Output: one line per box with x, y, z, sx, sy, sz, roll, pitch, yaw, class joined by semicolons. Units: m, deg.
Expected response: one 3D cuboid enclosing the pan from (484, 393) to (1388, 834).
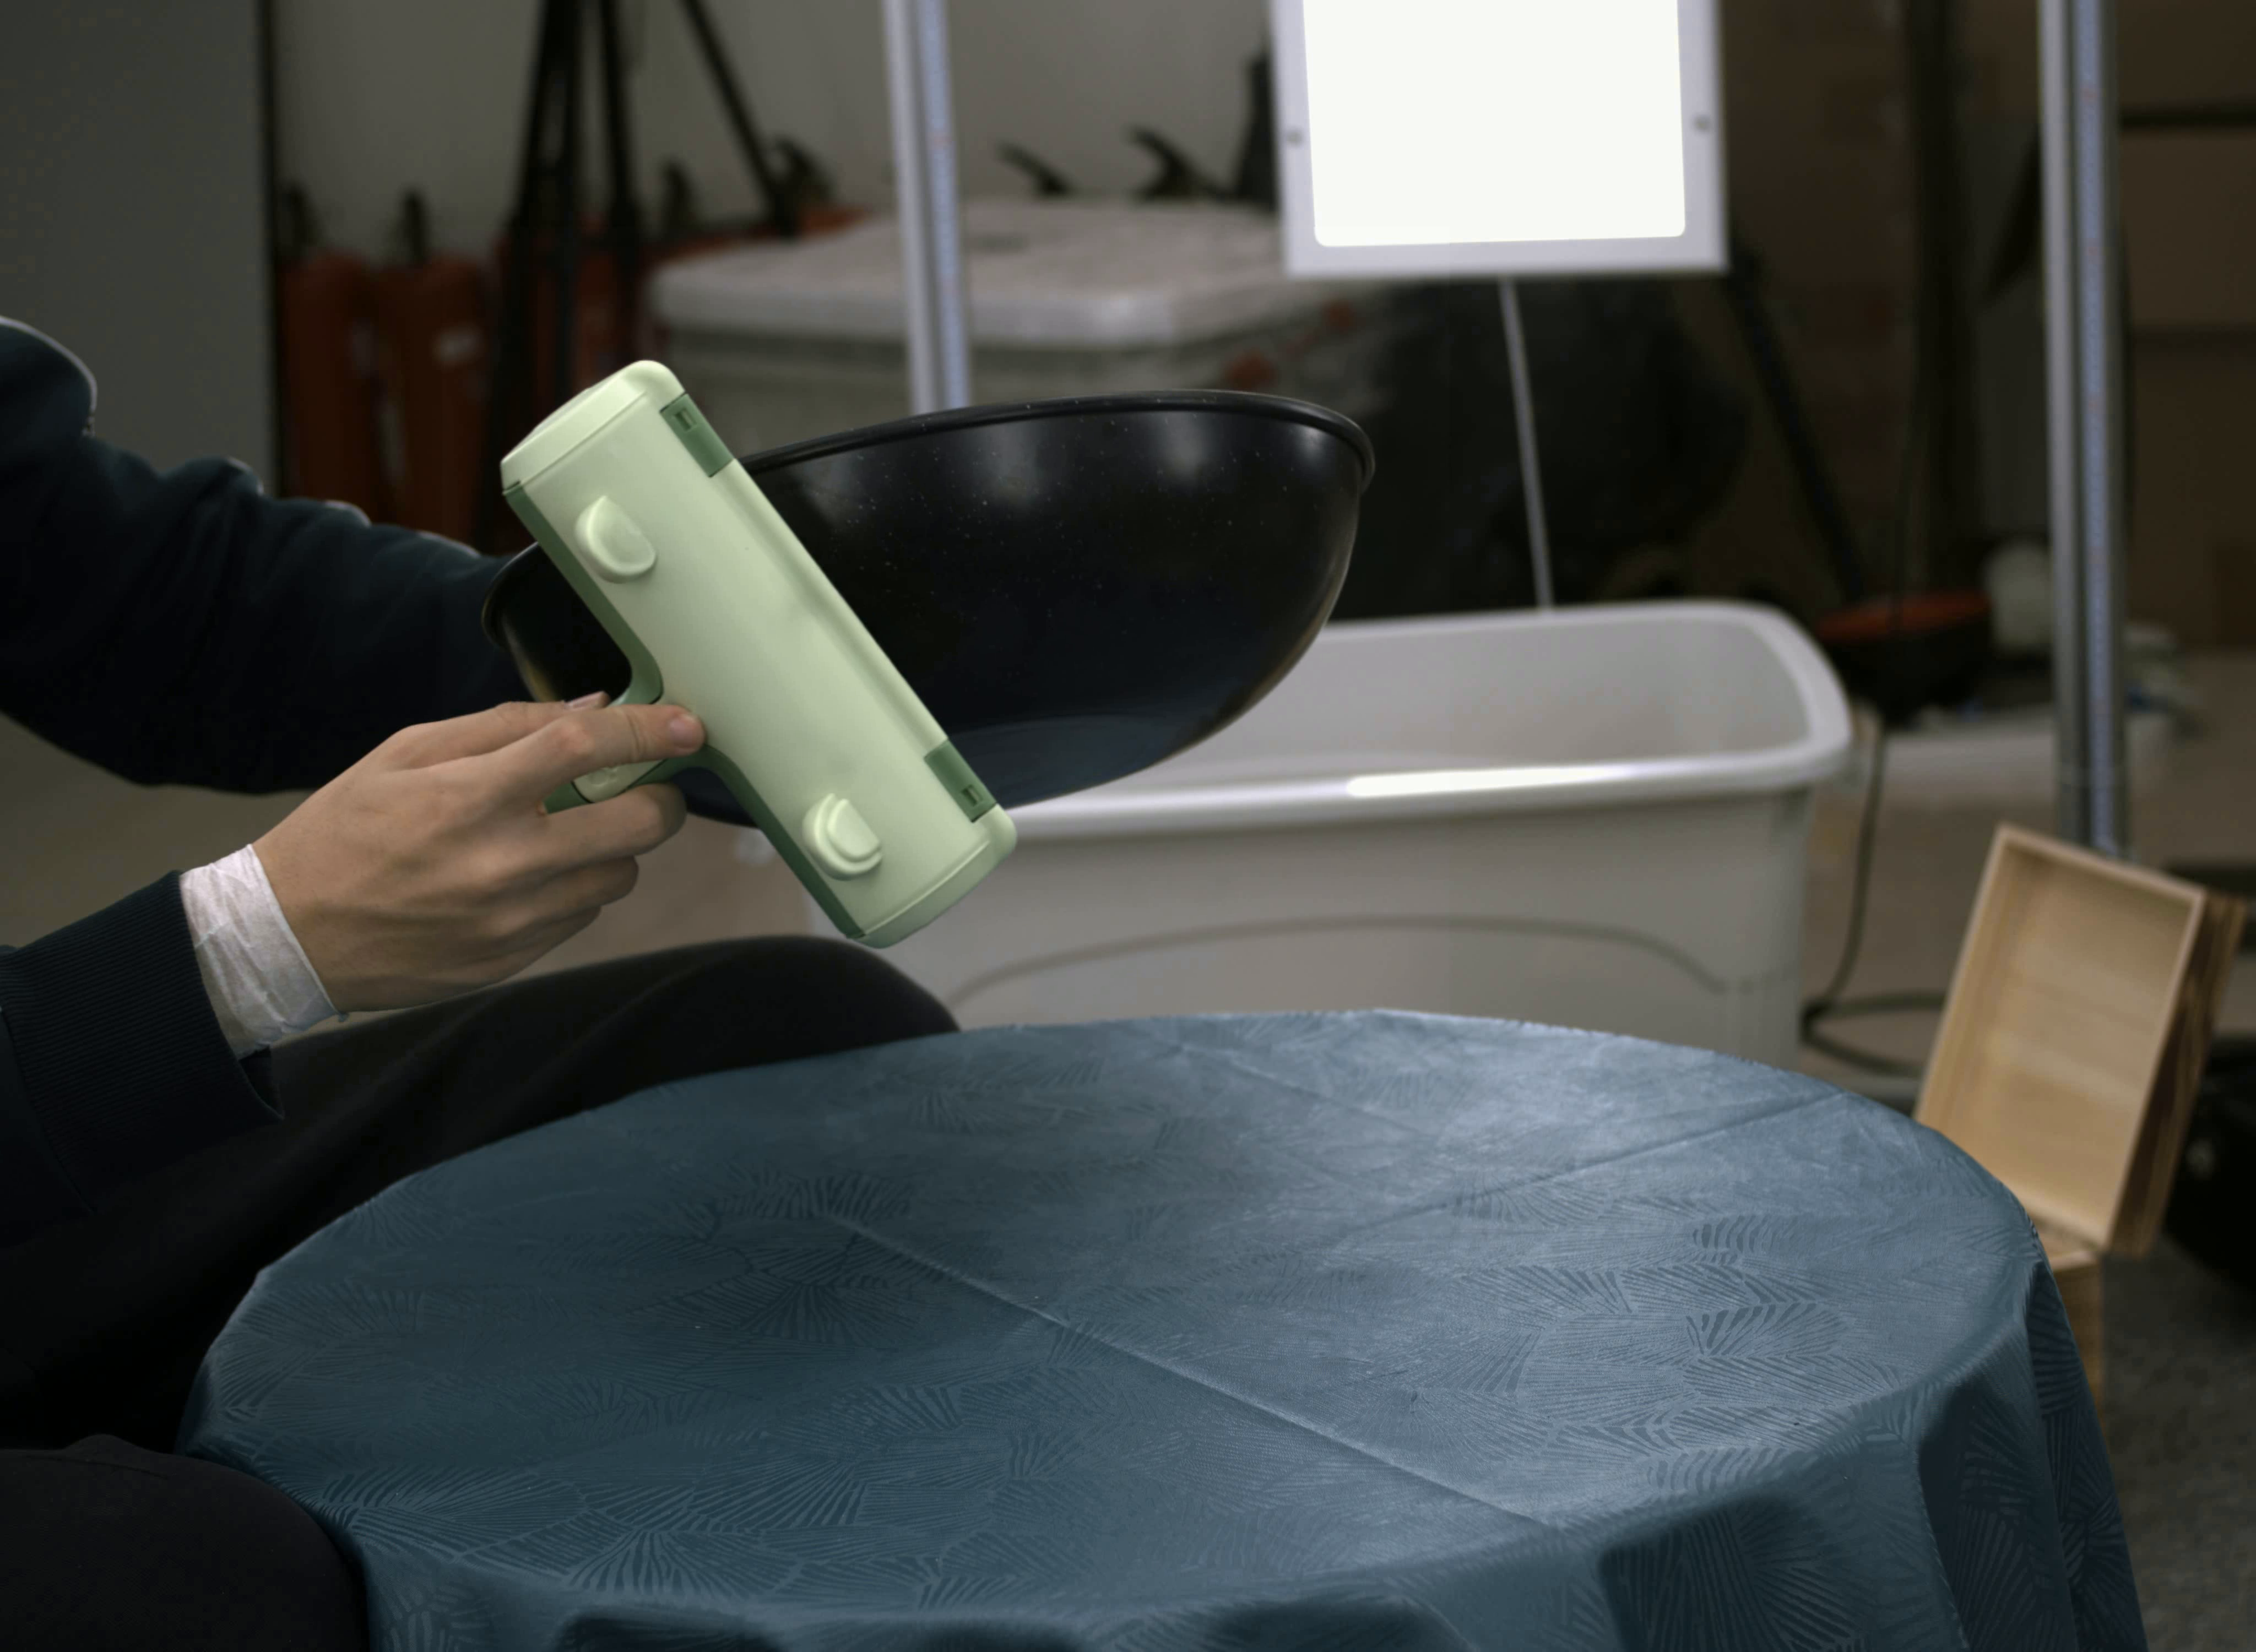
-0.070;-0.050;1.939;0.307;0.112;0.480;-7;-11;-8;pan

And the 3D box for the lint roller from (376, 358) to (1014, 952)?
-0.162;-0.017;1.720;0.184;0.198;0.082;-36;8;5;lint roller
